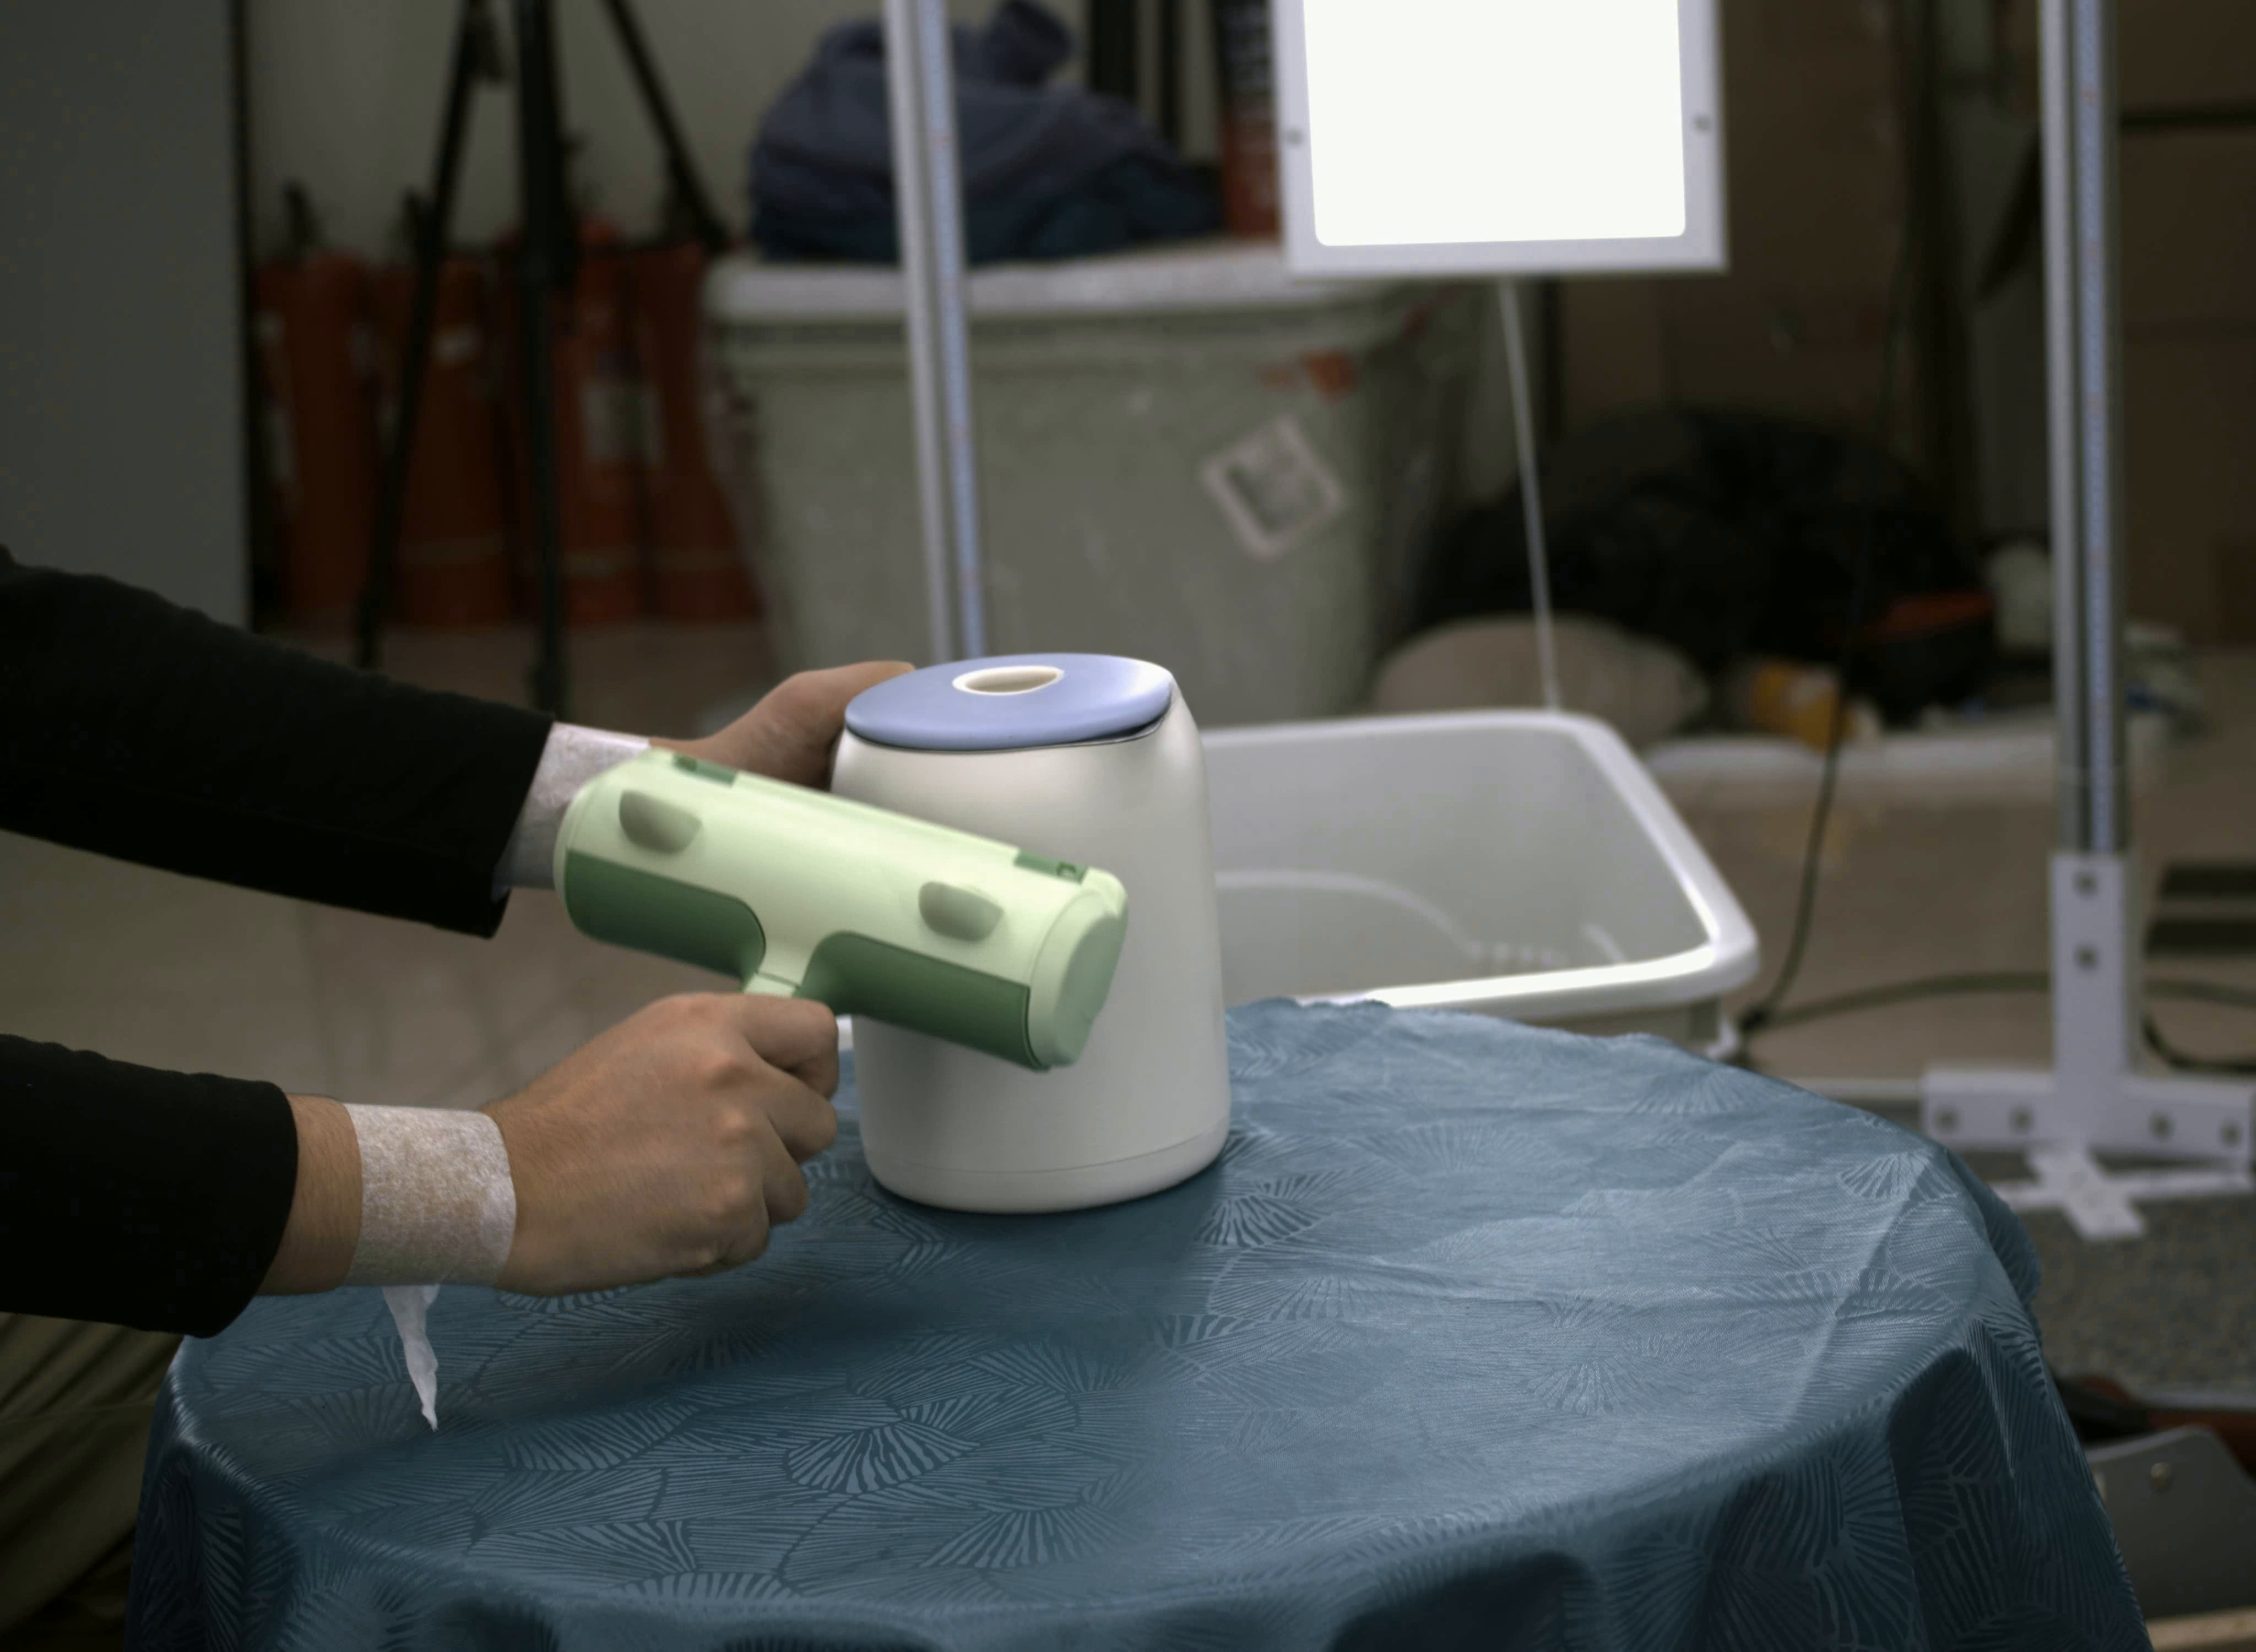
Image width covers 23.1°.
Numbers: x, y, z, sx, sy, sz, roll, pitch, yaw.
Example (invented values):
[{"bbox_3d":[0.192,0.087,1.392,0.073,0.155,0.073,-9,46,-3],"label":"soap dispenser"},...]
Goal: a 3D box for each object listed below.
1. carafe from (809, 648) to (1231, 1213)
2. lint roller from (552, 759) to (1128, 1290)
[{"bbox_3d":[-0.049,0.033,1.937,0.129,0.183,0.195,-14,15,-36],"label":"carafe"},{"bbox_3d":[-0.123,0.062,1.788,0.202,0.082,0.180,15,52,27],"label":"lint roller"}]
